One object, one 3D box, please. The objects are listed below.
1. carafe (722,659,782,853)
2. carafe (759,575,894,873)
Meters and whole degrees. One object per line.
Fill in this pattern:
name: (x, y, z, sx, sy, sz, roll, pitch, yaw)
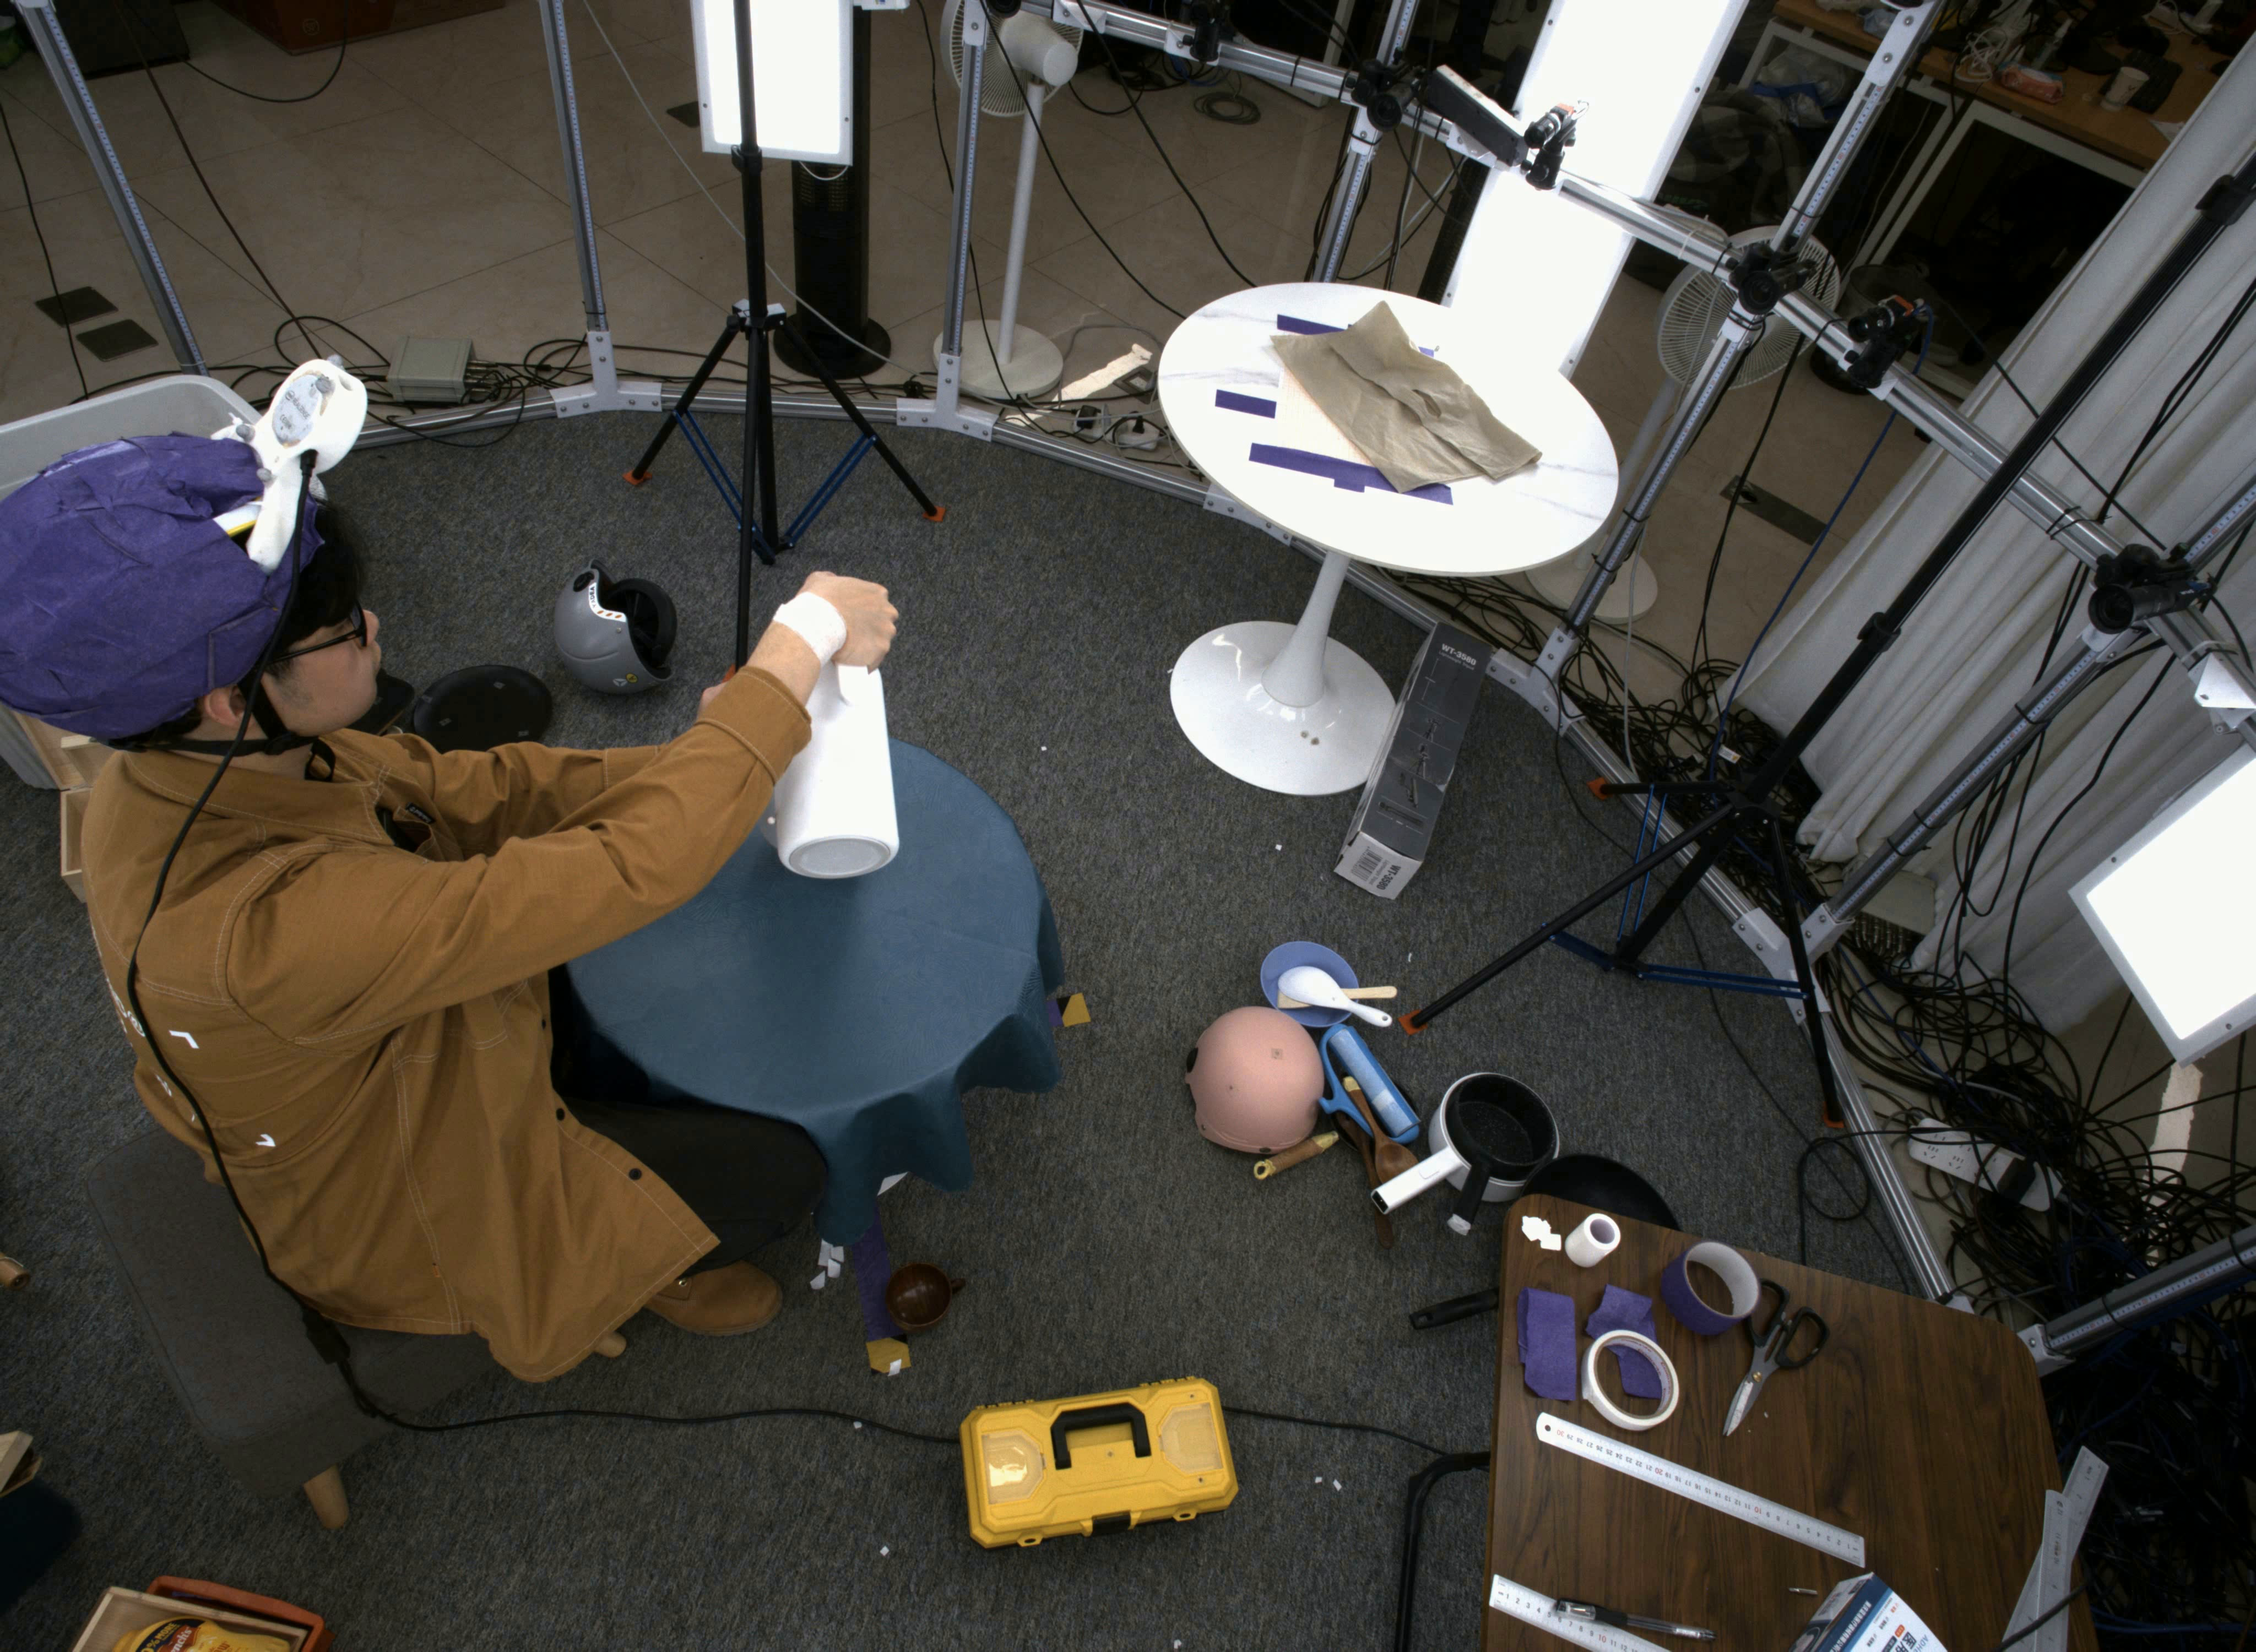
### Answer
carafe: (-0.404, -0.094, 1.544, 0.166, 0.253, 0.131, 21, 54, 3)
carafe: (-0.296, -0.105, 1.282, 0.126, 0.172, 0.266, 4, 64, -28)
